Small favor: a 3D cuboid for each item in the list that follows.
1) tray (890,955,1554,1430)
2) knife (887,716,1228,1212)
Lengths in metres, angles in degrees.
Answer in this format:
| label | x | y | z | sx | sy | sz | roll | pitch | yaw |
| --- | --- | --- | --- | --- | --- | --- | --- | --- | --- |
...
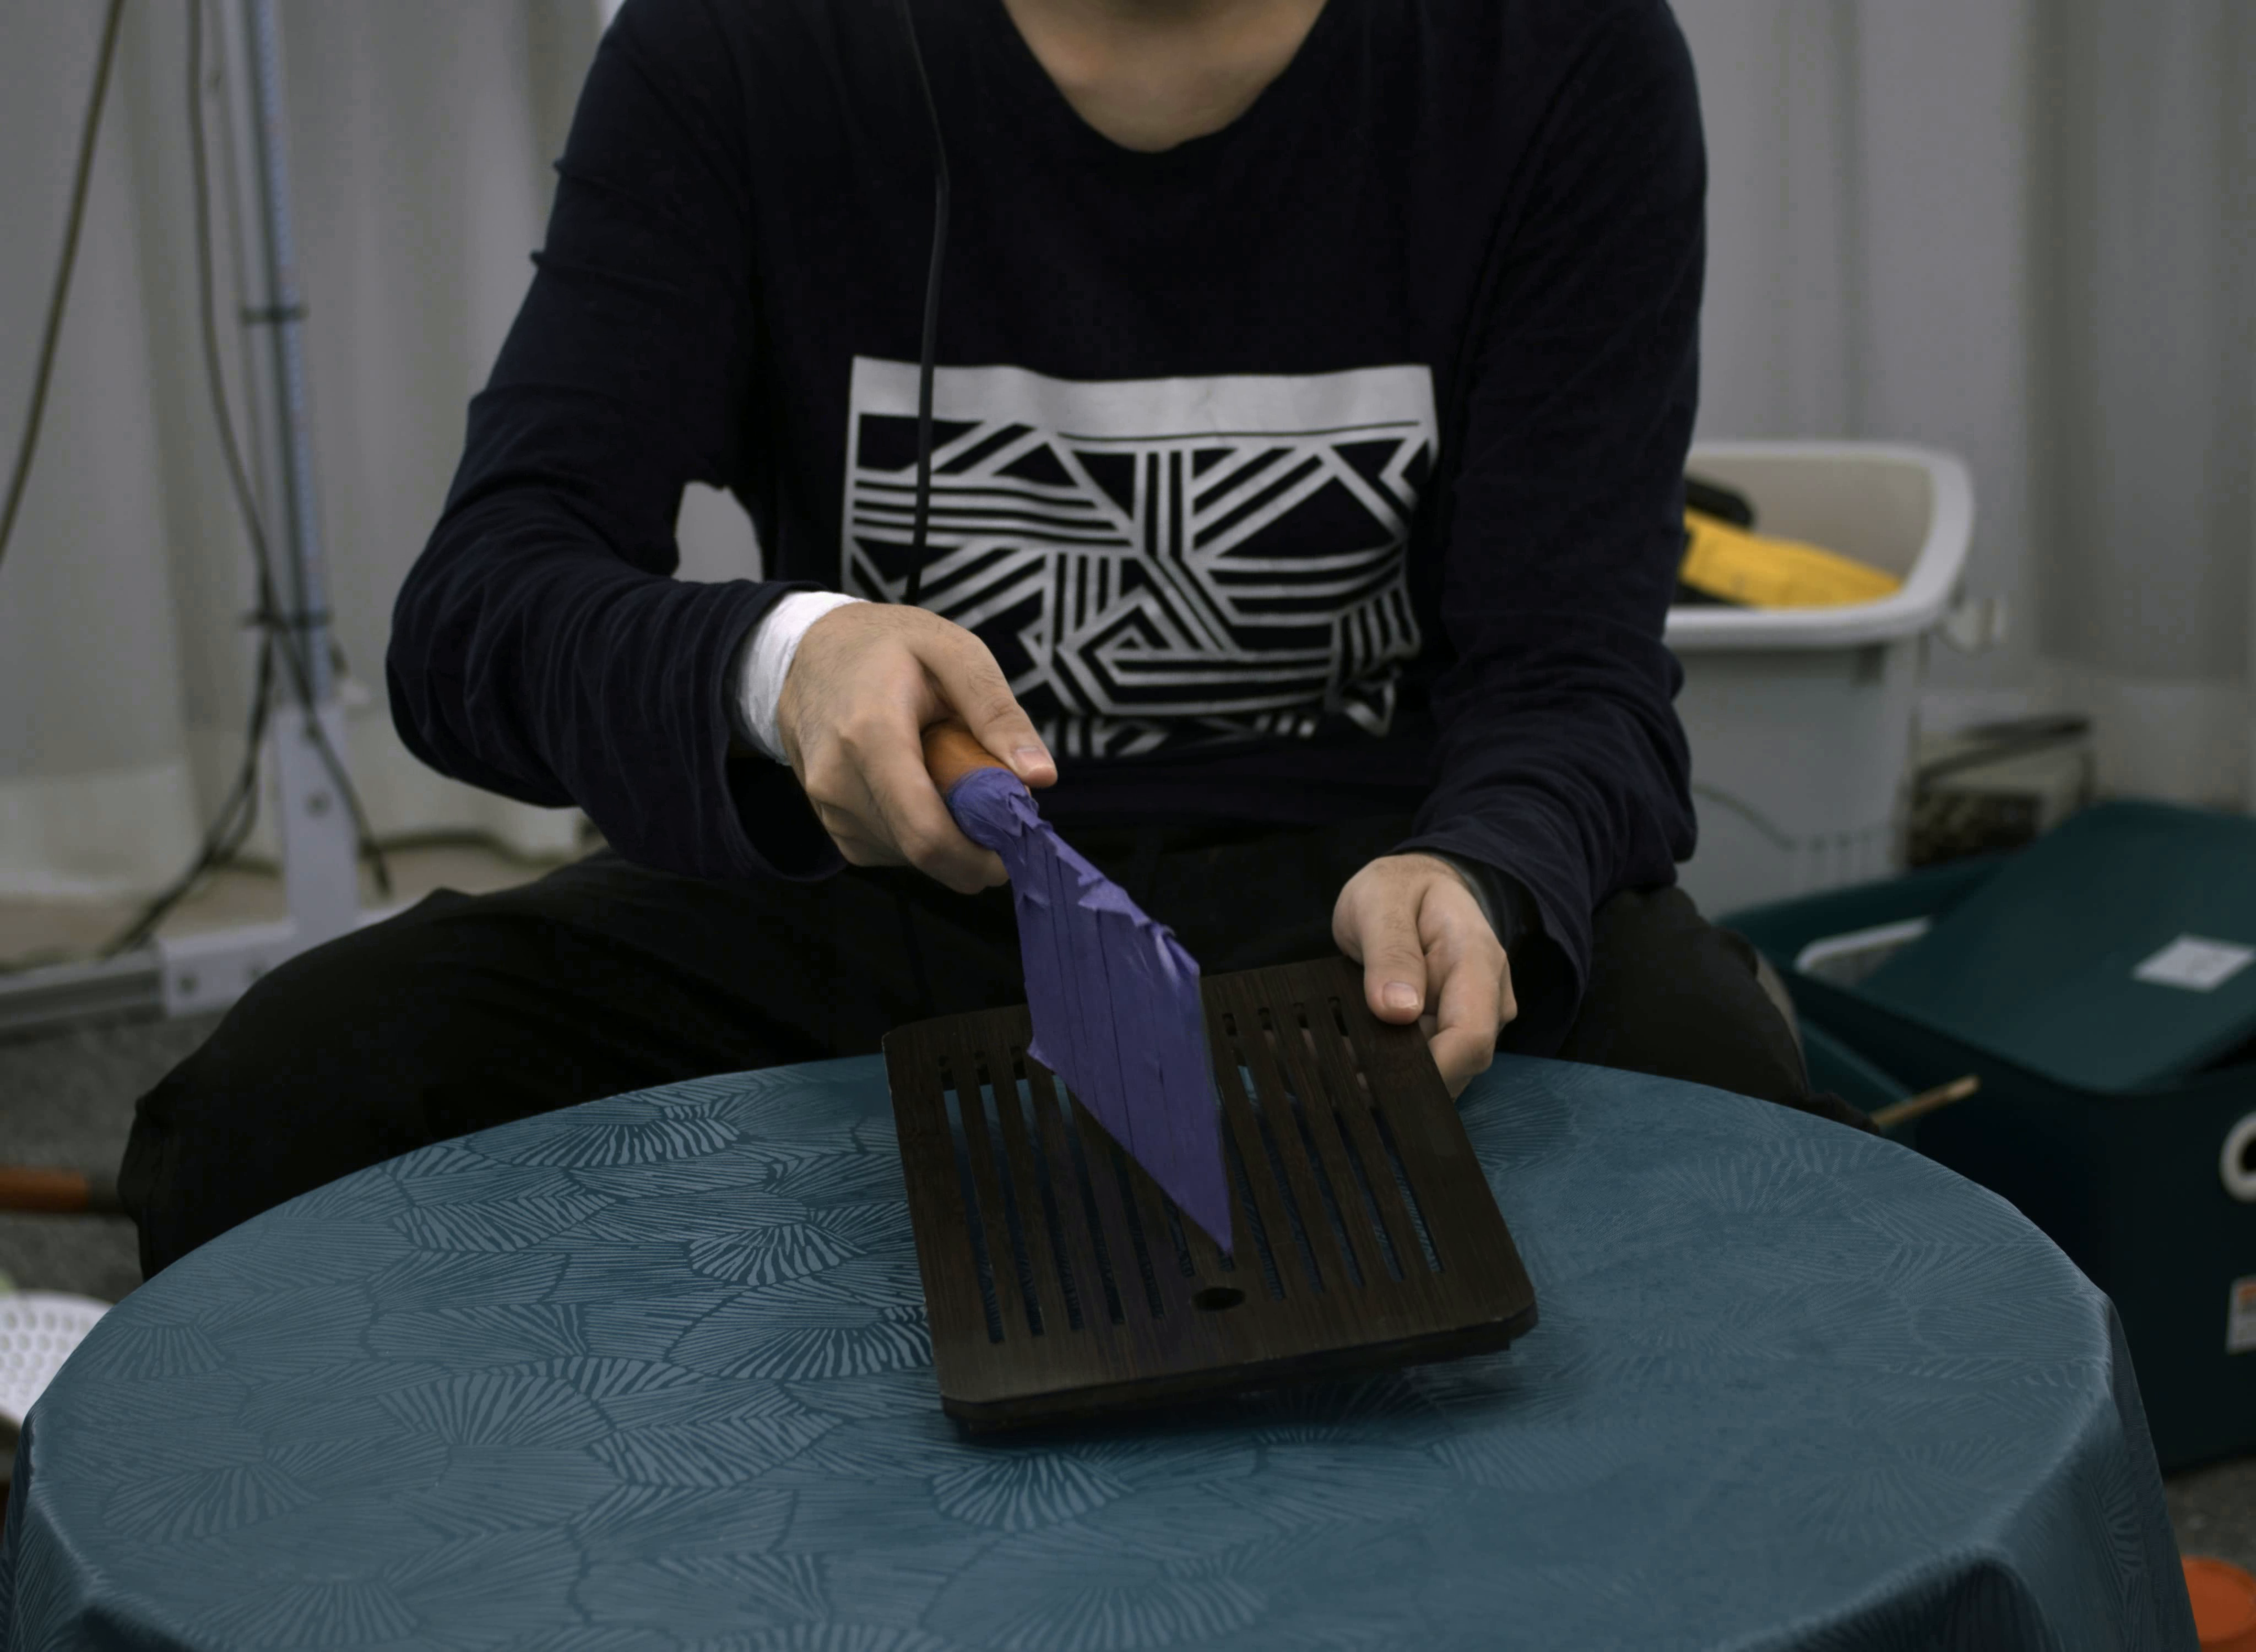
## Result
| label | x | y | z | sx | sy | sz | roll | pitch | yaw |
| --- | --- | --- | --- | --- | --- | --- | --- | --- | --- |
| tray | 0.021 | 0.107 | 1.651 | 0.169 | 0.018 | 0.308 | -9 | 18 | -3 |
| knife | -0.024 | 0.040 | 1.672 | 0.032 | 0.103 | 0.317 | -10 | 15 | -12 |
